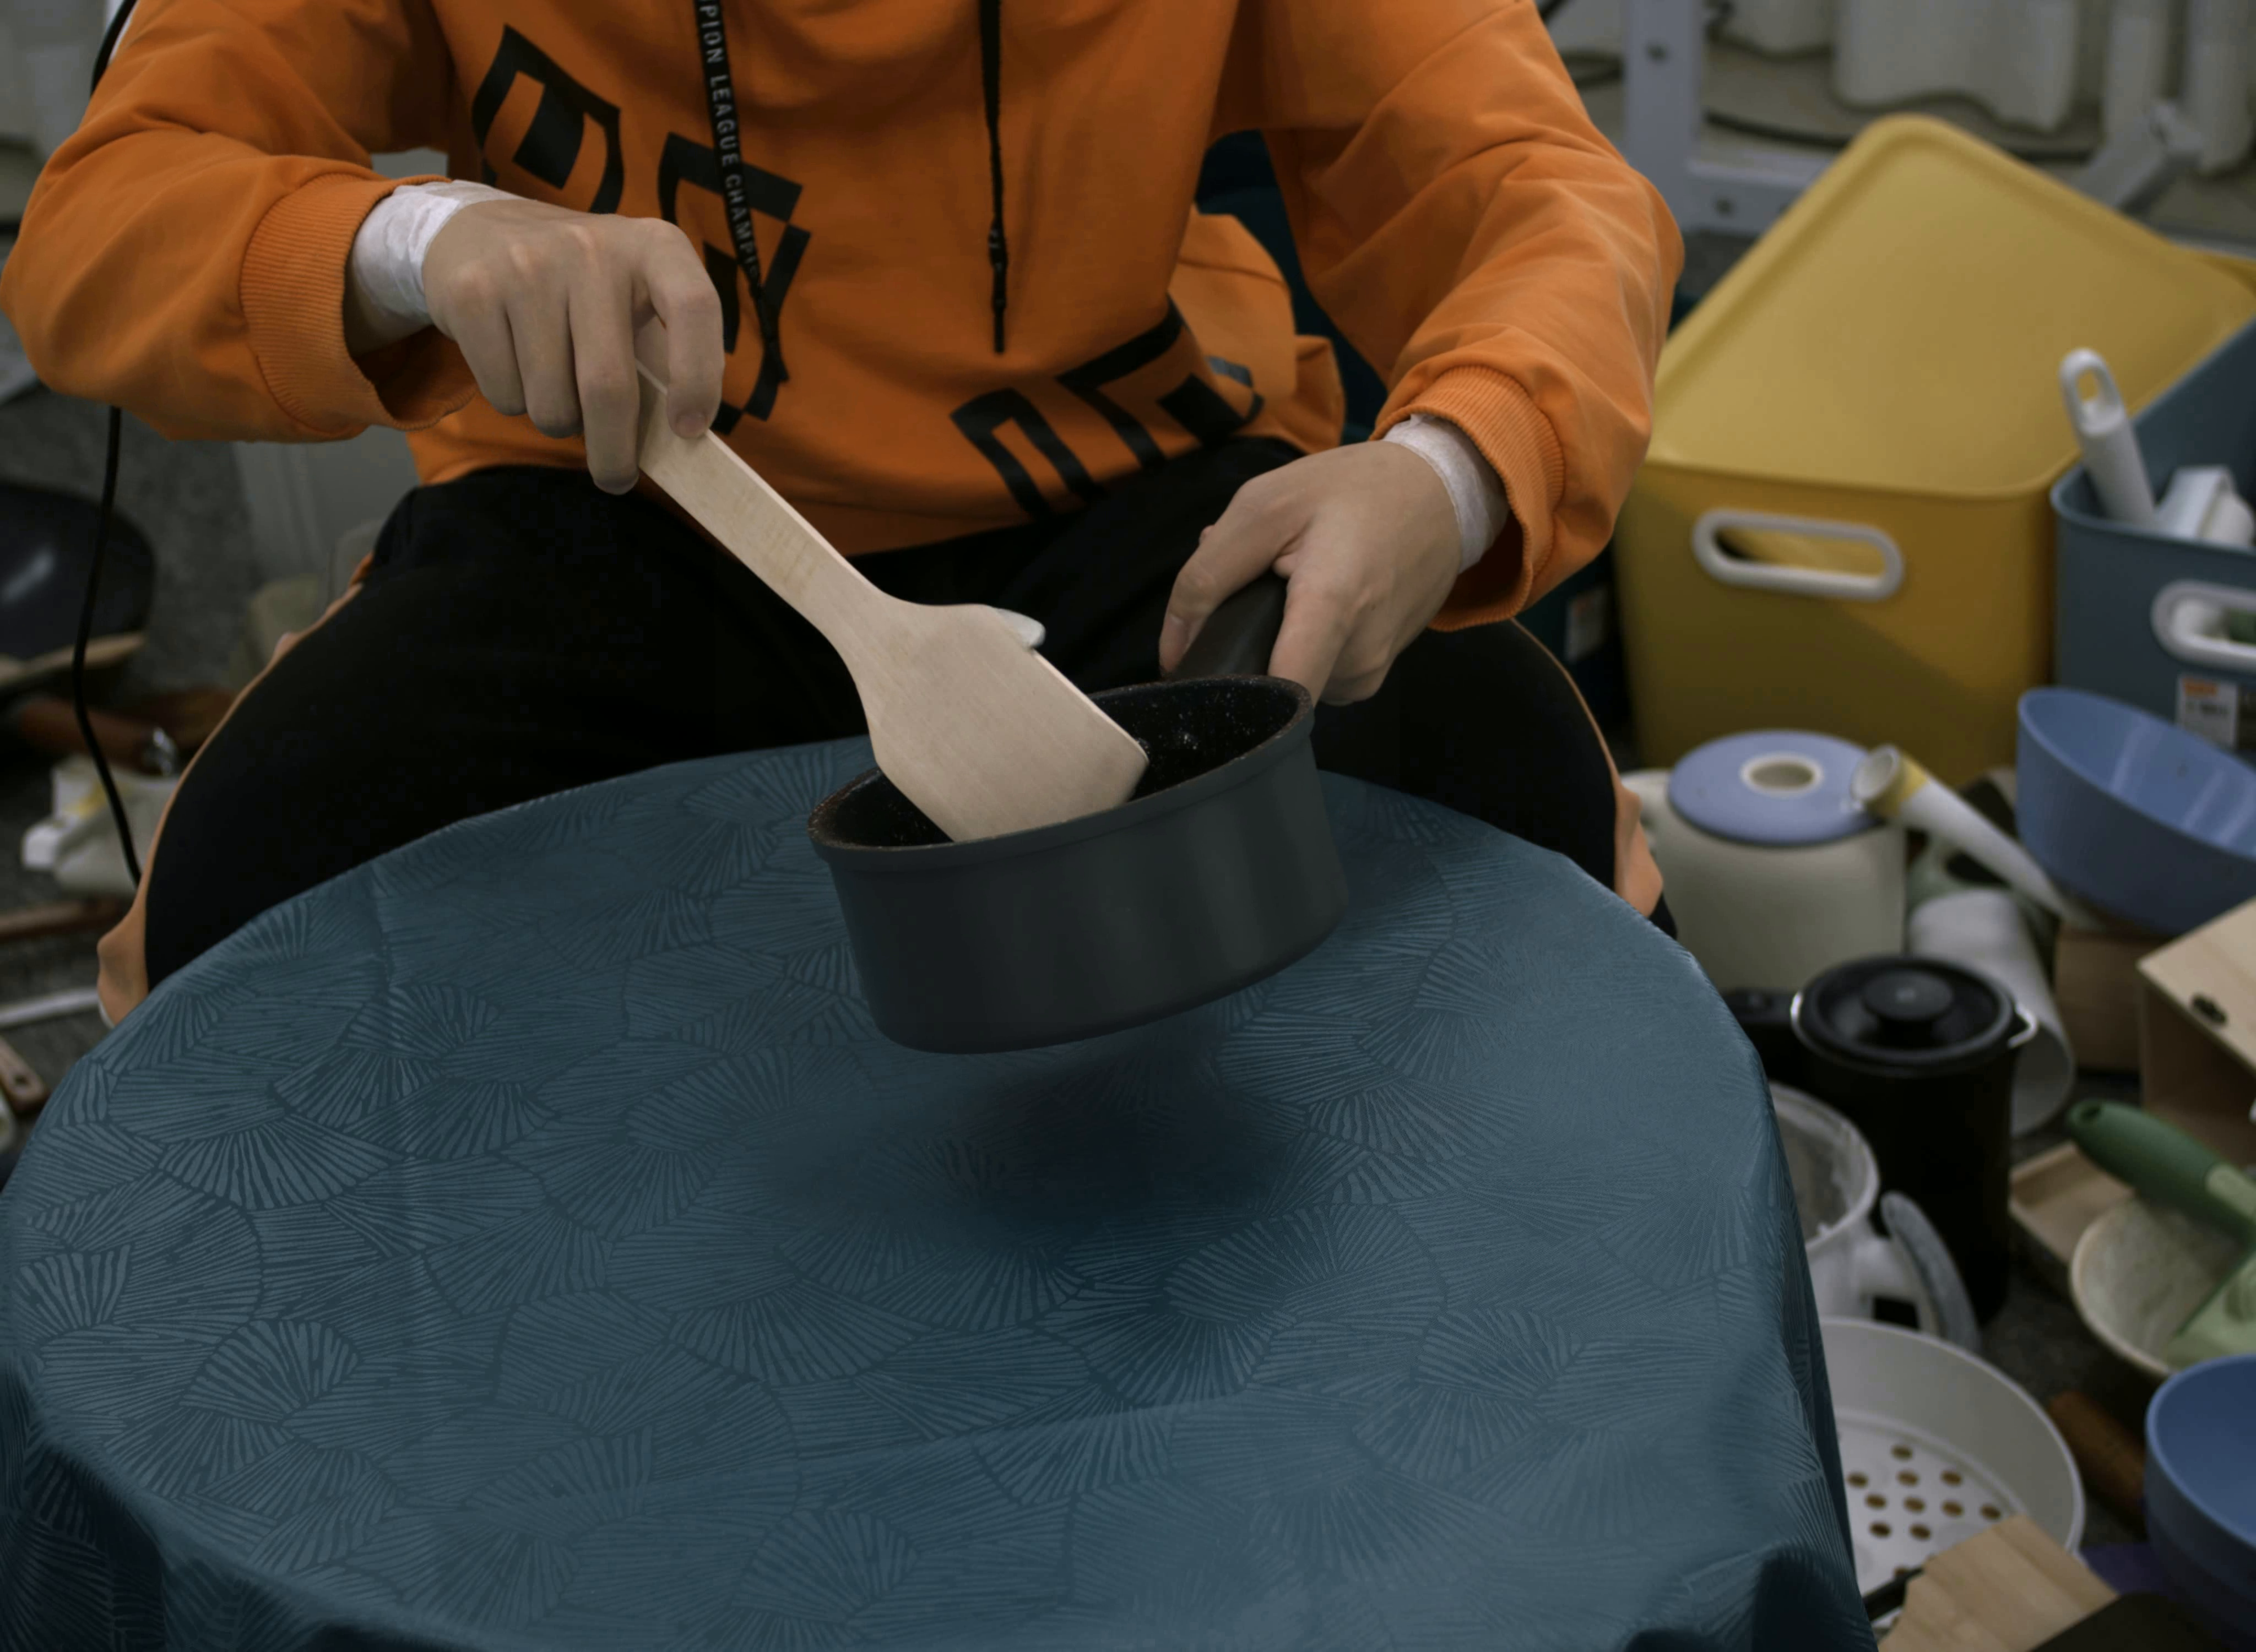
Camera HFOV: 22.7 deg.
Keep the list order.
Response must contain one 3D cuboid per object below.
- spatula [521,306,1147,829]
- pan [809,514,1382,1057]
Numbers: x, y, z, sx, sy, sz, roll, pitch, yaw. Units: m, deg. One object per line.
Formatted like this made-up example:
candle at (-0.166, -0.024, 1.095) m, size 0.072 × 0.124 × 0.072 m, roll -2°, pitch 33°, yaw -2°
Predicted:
spatula at (-0.108, -0.084, 1.900) m, size 0.294 × 0.071 × 0.011 m, roll 42°, pitch 22°, yaw 24°
pan at (0.018, -0.017, 1.919) m, size 0.170 × 0.086 × 0.333 m, roll -6°, pitch 17°, yaw 27°
